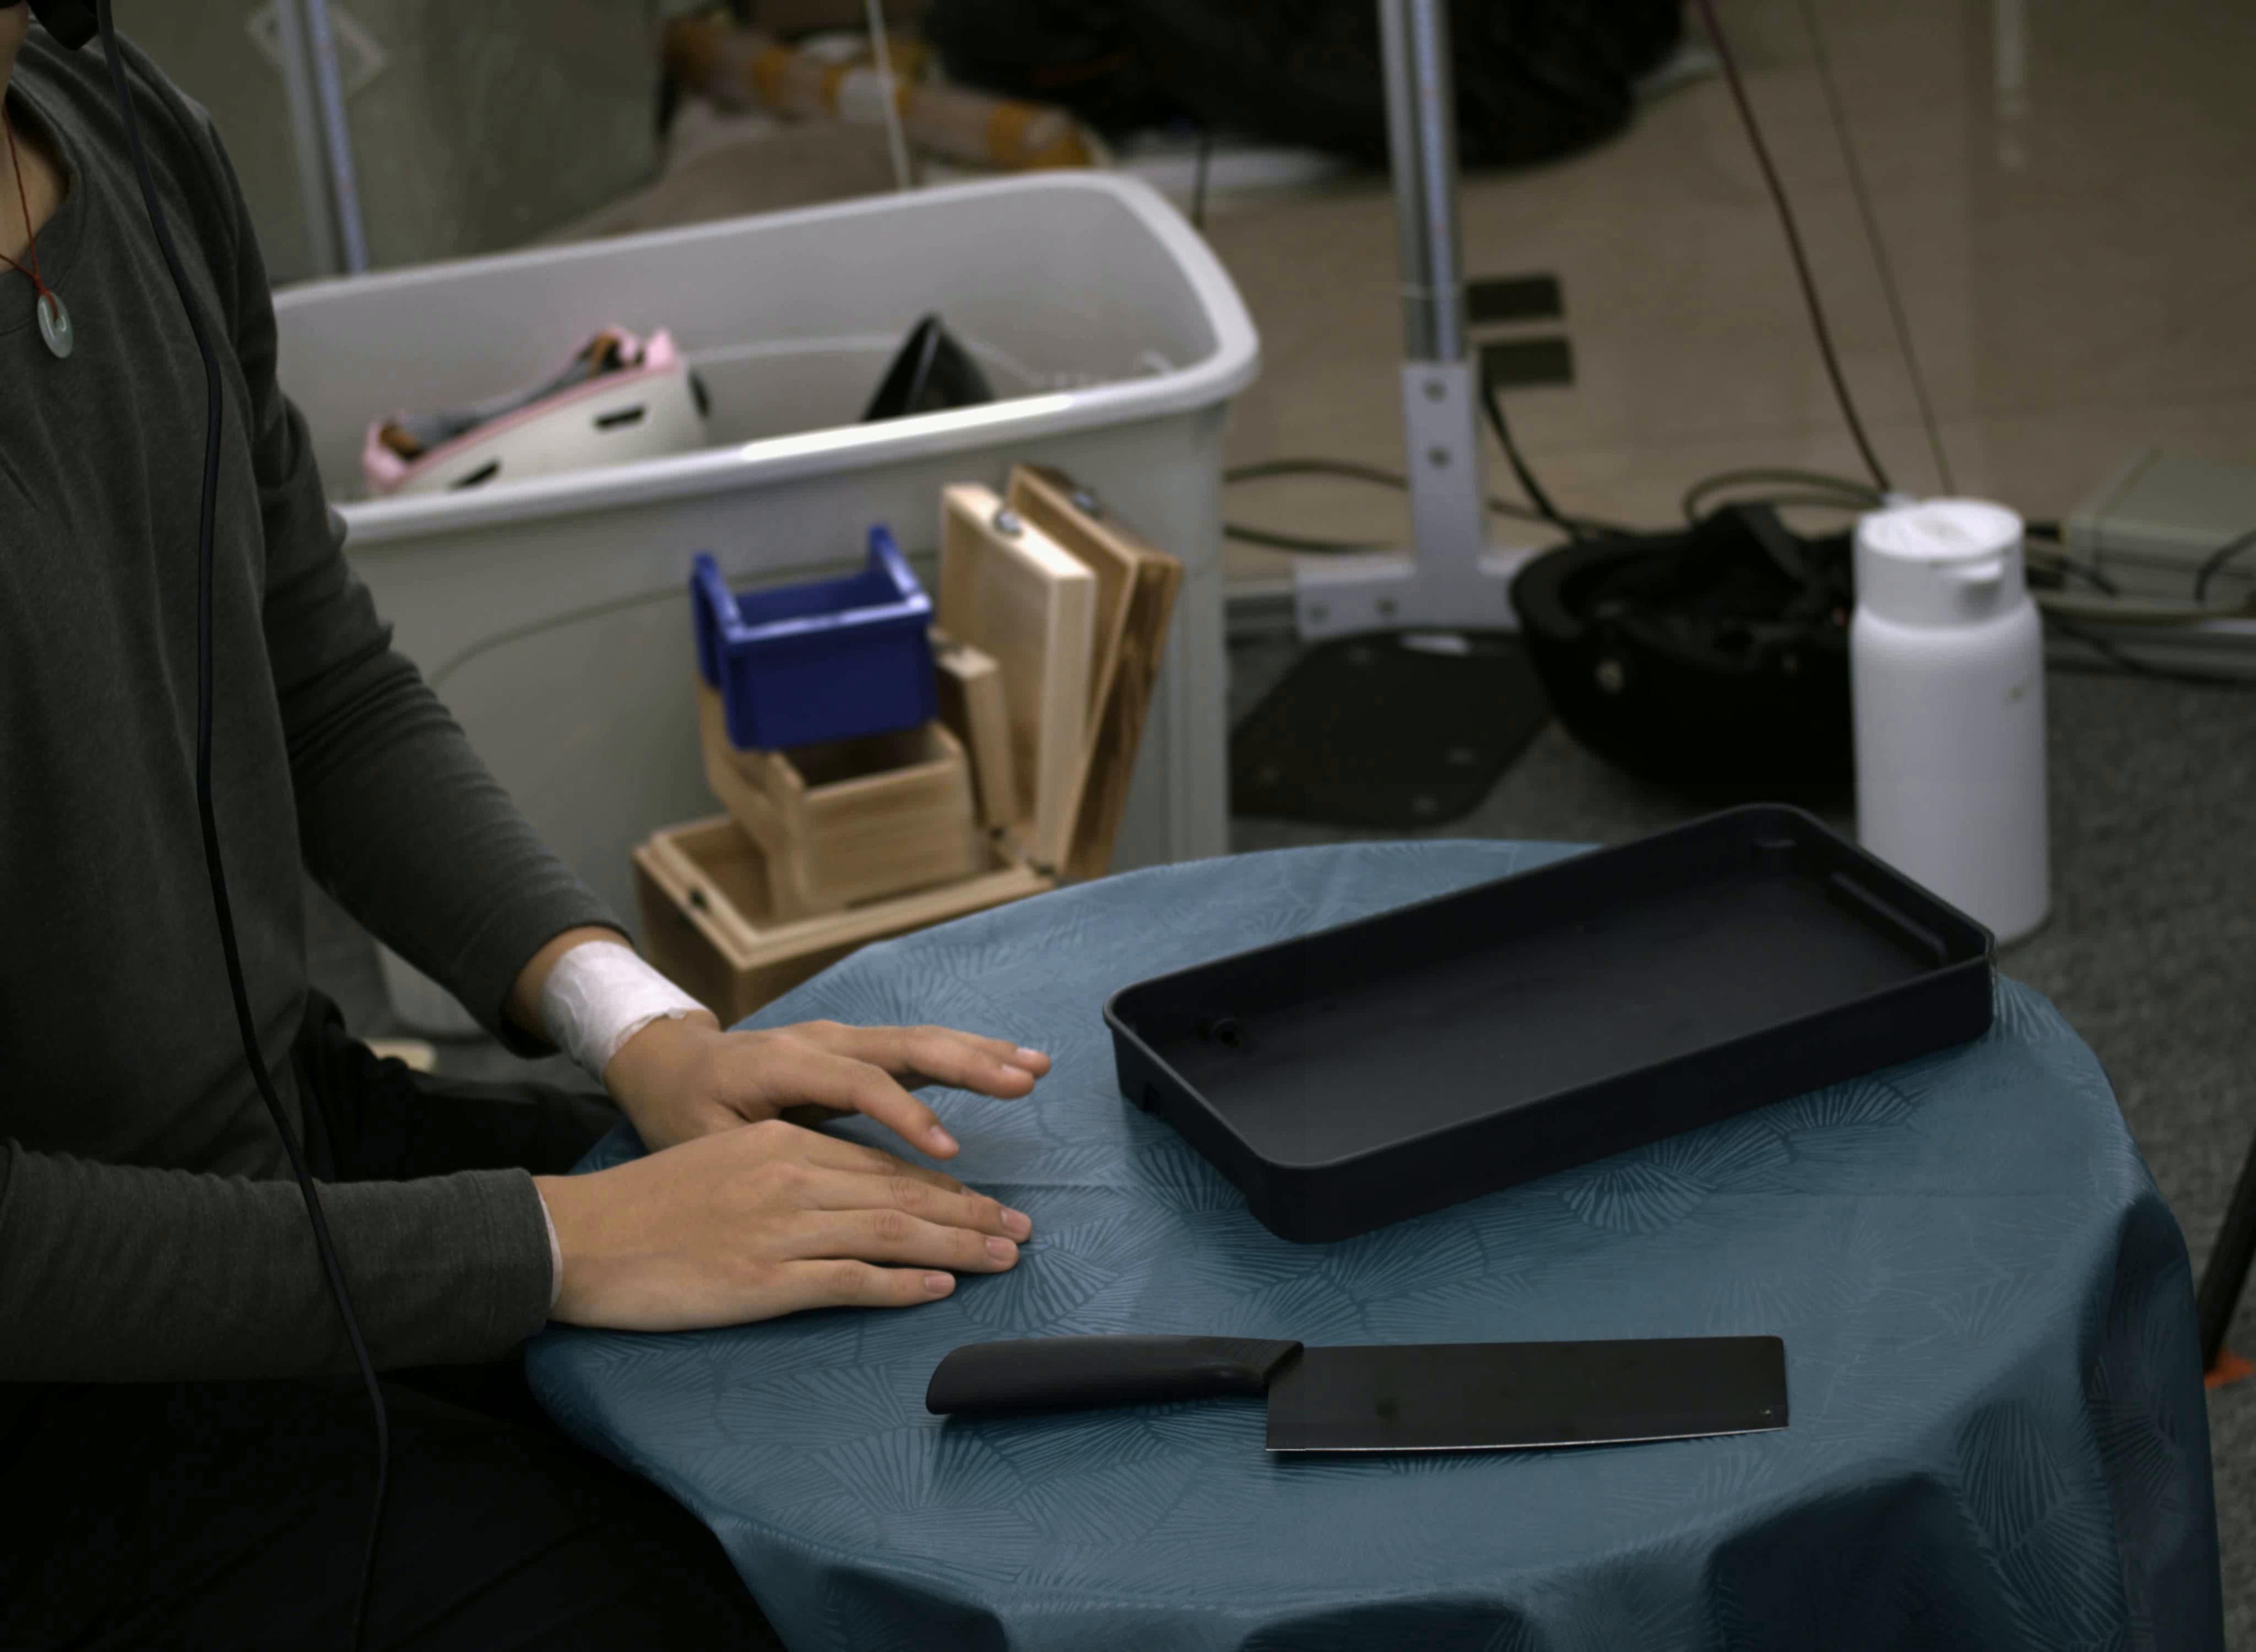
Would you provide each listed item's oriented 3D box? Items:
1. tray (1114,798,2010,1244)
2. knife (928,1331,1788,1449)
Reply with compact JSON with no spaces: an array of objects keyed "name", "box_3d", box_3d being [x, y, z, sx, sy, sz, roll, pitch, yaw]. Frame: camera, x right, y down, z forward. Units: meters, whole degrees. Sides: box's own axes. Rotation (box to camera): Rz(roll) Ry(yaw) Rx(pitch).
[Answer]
[{"name":"tray","box_3d":[0.169,0.072,2.213,0.316,0.037,0.182,-17,26,-21]},{"name":"knife","box_3d":[0.080,0.197,1.990,0.302,0.021,0.080,-1,27,9]}]
